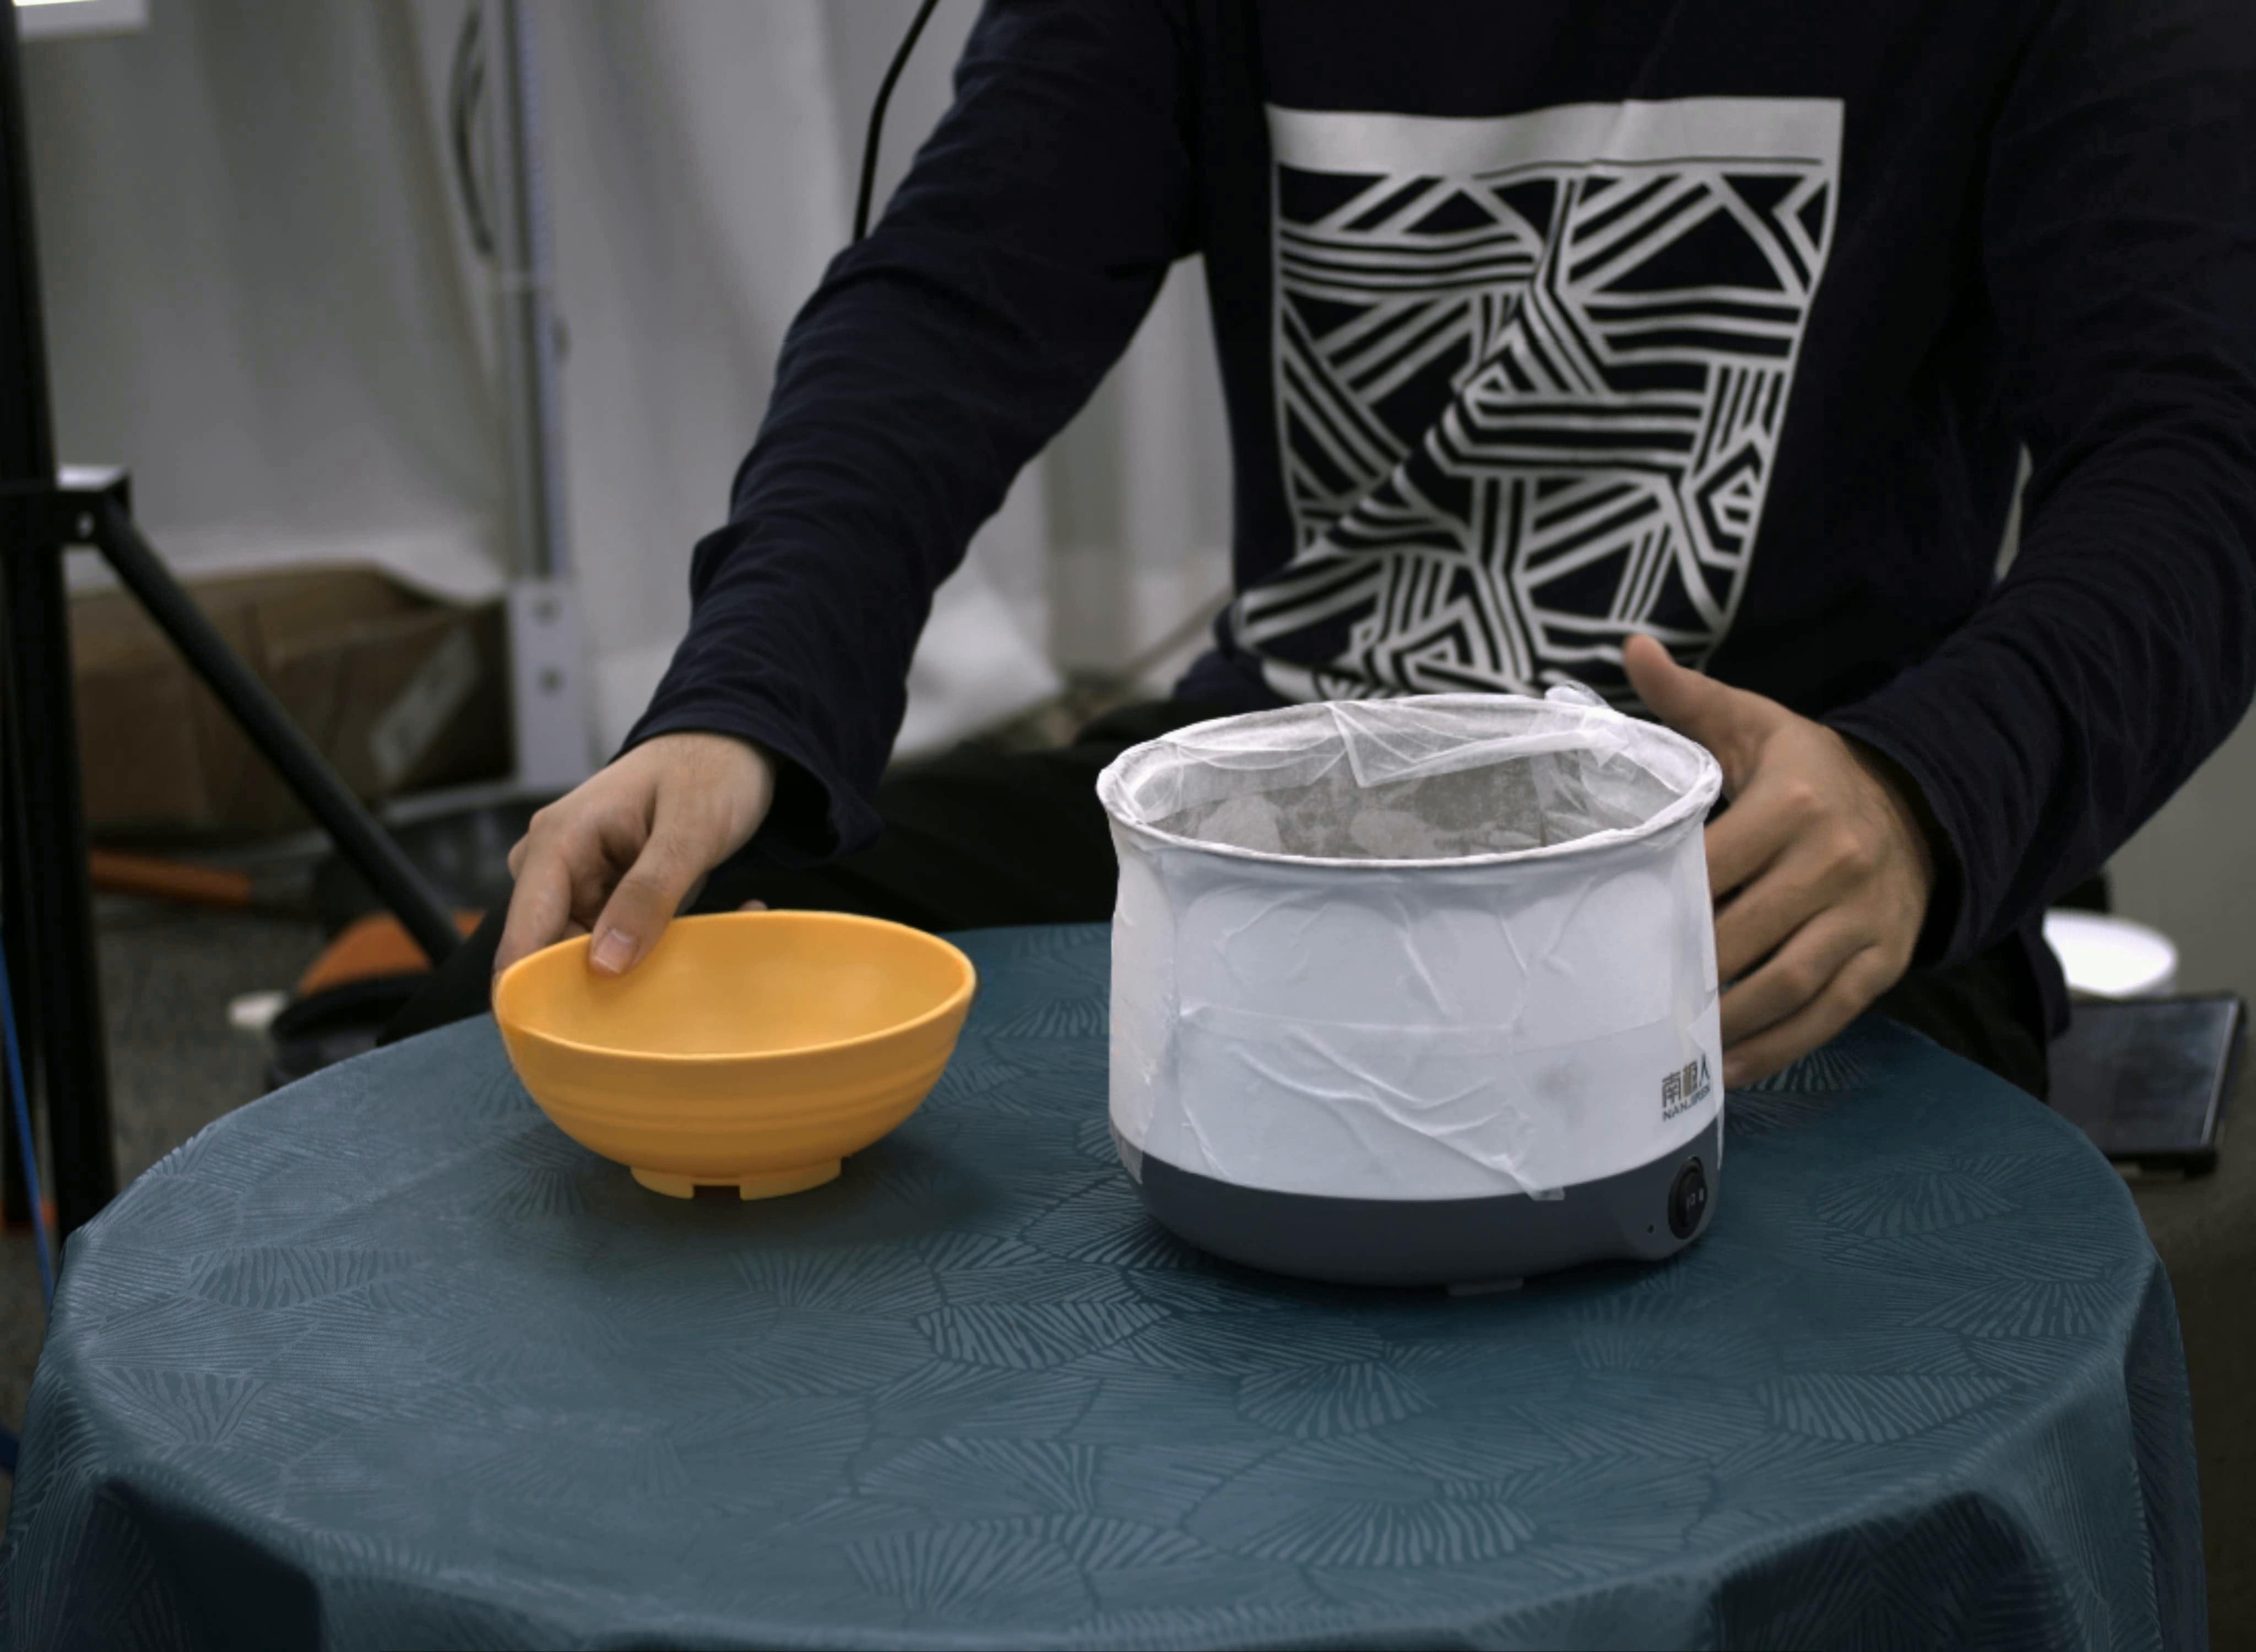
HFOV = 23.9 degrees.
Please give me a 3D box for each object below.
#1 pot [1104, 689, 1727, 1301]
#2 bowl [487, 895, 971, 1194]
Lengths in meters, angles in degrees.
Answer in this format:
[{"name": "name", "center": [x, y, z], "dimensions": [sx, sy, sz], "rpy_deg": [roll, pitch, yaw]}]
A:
[{"name": "pot", "center": [0.096, 0.042, 1.538], "dimensions": [0.182, 0.136, 0.229], "rpy_deg": [7, 17, 31]}, {"name": "bowl", "center": [-0.118, 0.071, 1.595], "dimensions": [0.144, 0.060, 0.146], "rpy_deg": [-2, 17, -1]}]
